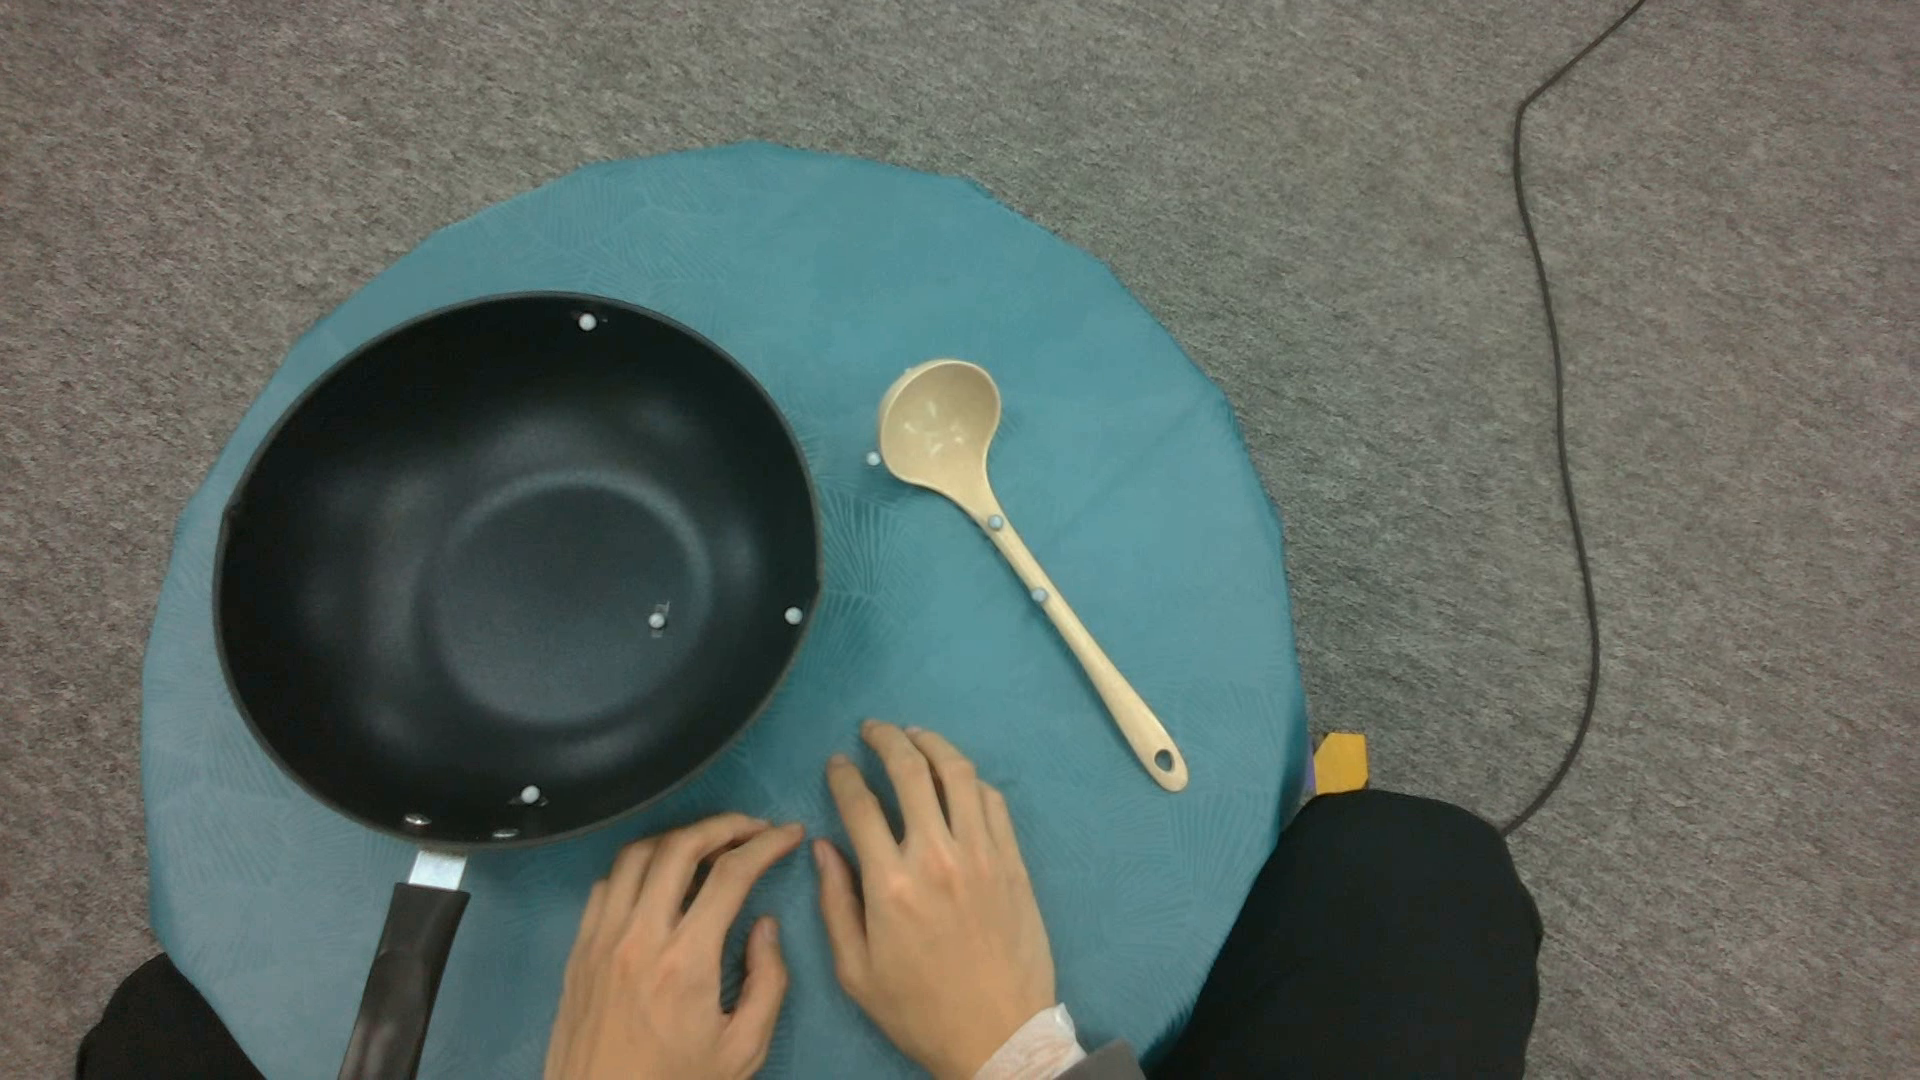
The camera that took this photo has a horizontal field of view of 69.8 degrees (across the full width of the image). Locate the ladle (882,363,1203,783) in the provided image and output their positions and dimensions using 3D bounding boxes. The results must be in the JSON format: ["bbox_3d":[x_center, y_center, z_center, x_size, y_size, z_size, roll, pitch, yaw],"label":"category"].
[{"bbox_3d":[0.050,0.014,0.714,0.072,0.072,0.255,-32,72,-17],"label":"ladle"}]

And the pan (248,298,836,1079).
[{"bbox_3d":[-0.216,0.104,0.672,0.288,0.086,0.465,8,70,3],"label":"pan"}]
